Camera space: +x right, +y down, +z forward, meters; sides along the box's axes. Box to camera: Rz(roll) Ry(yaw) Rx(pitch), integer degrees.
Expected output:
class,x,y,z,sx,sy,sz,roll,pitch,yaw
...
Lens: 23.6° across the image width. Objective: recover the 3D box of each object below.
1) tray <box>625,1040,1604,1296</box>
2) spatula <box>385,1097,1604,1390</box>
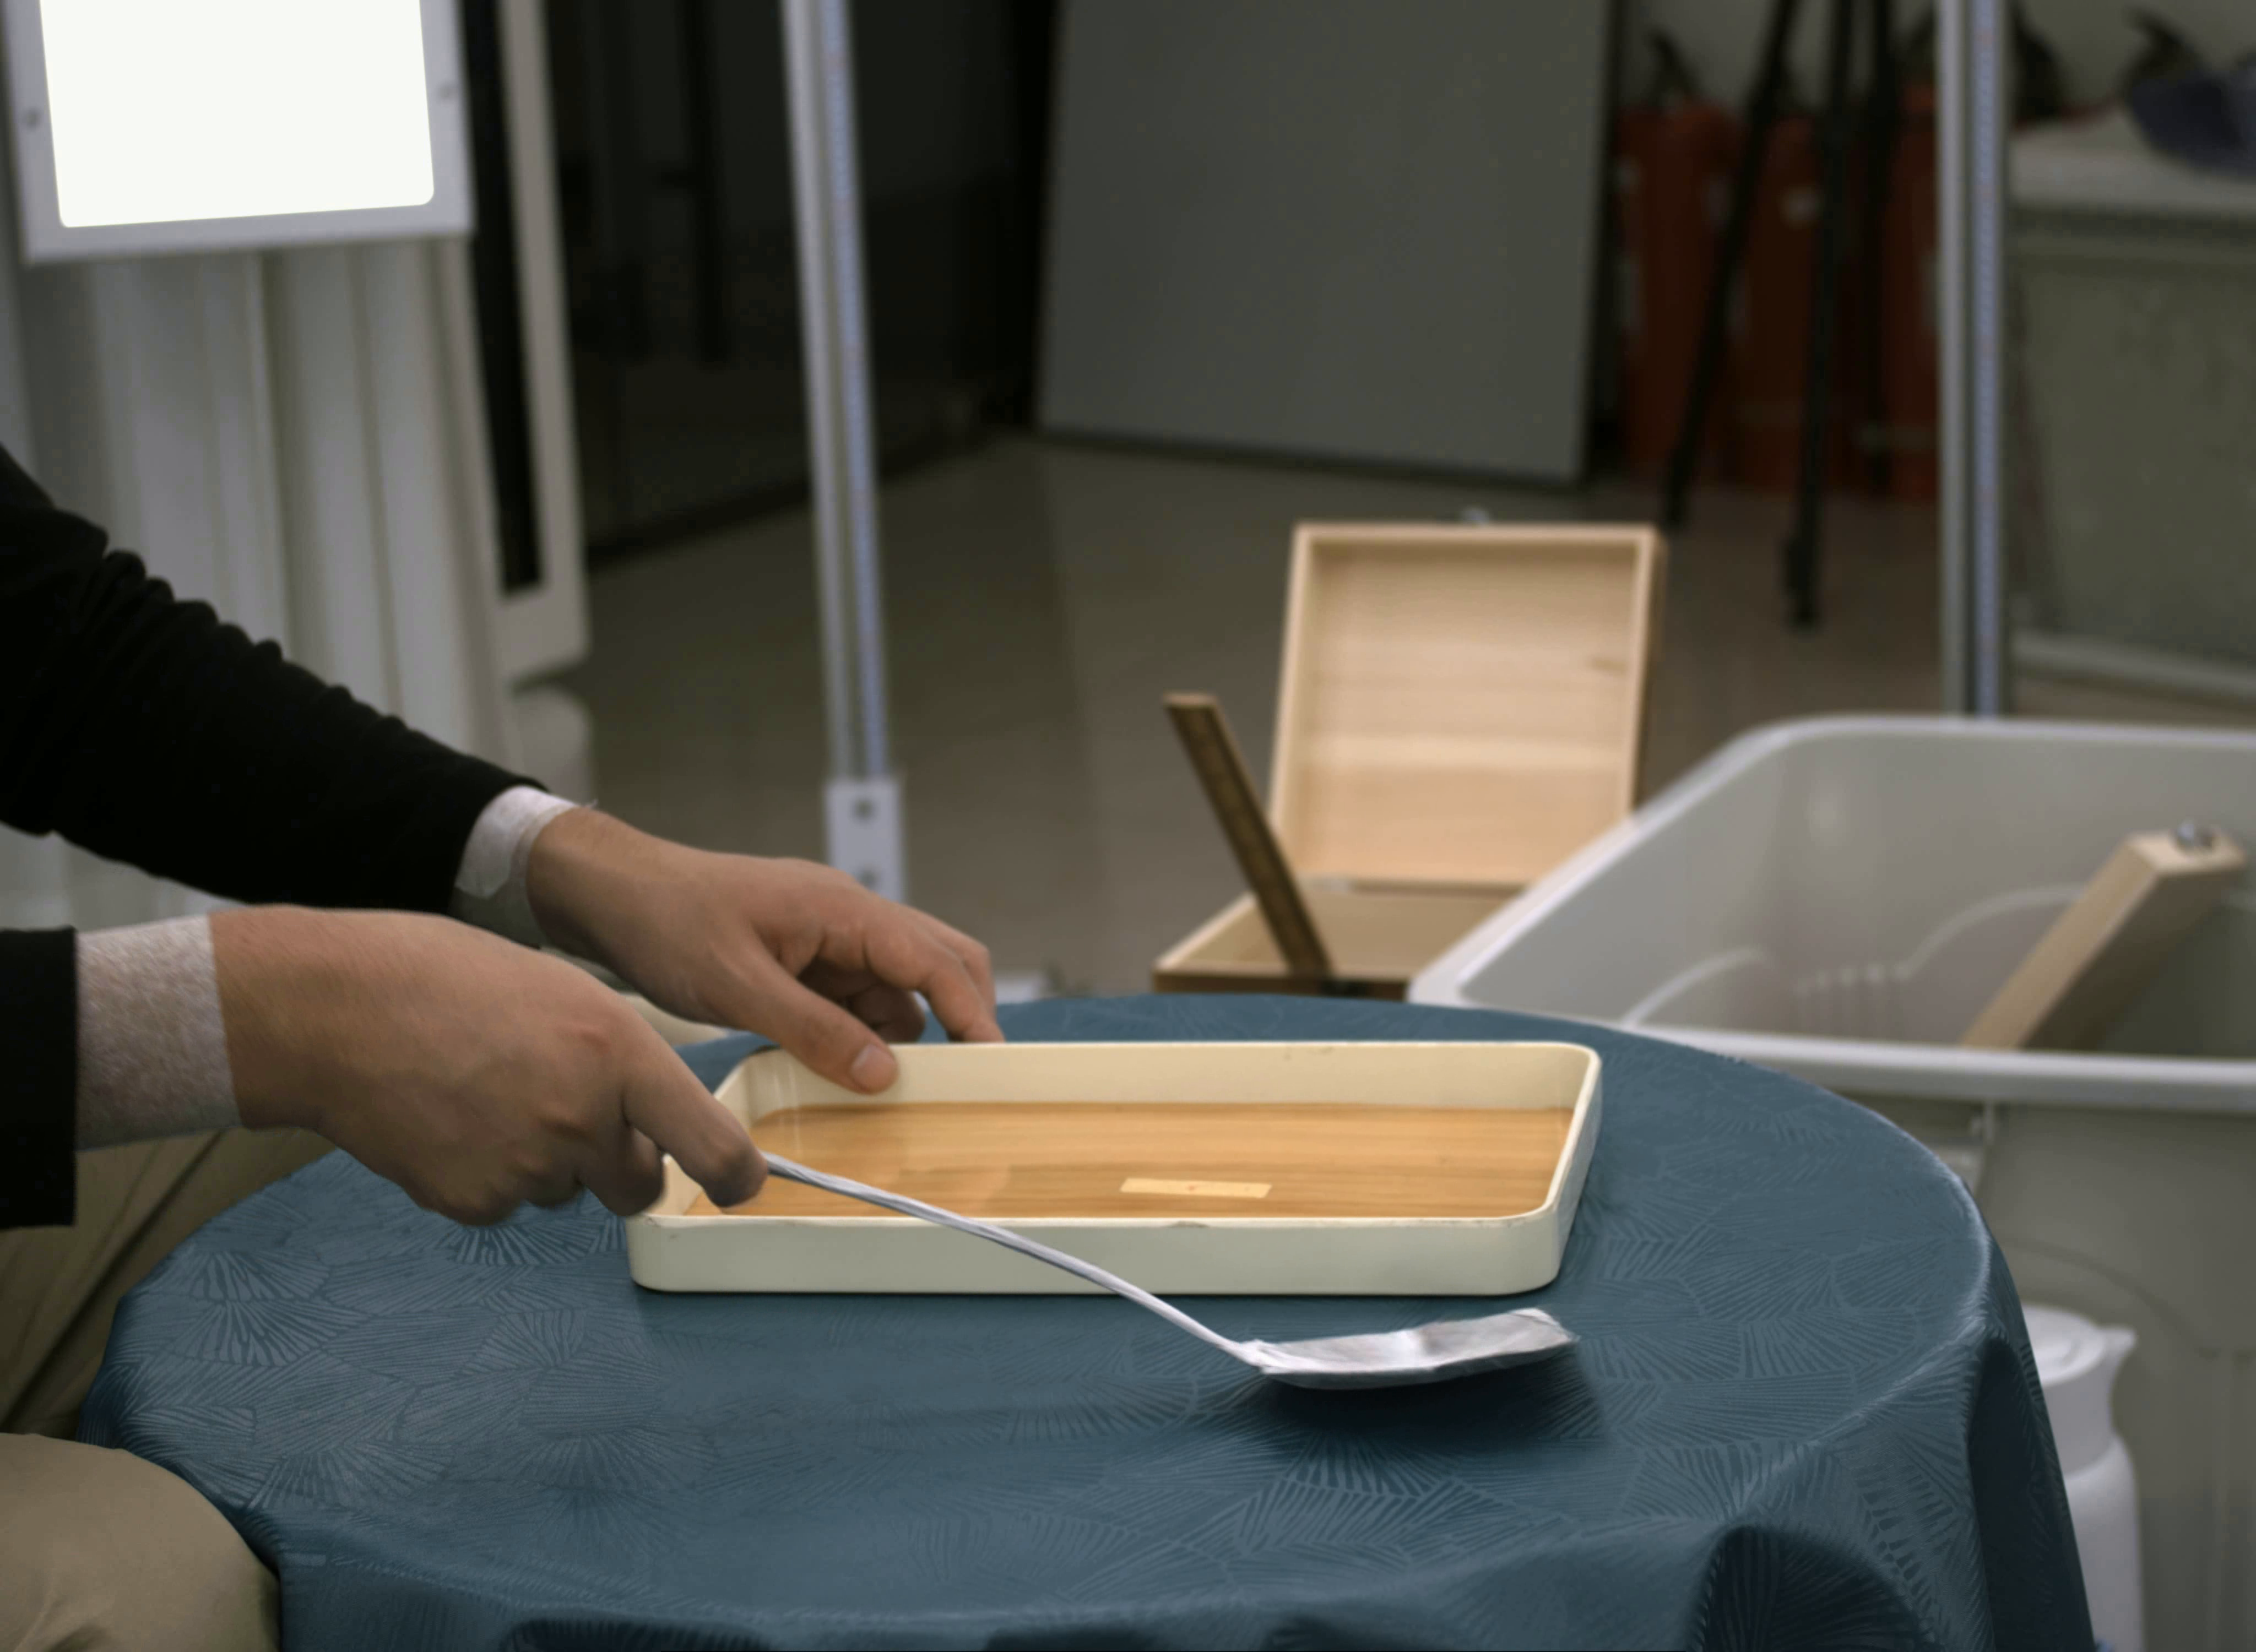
class,x,y,z,sx,sy,sz,roll,pitch,yaw
tray,0.001,0.111,1.755,0.298,0.028,0.190,-1,14,12
spatula,-0.040,0.114,1.569,0.361,0.045,0.098,17,1,3
